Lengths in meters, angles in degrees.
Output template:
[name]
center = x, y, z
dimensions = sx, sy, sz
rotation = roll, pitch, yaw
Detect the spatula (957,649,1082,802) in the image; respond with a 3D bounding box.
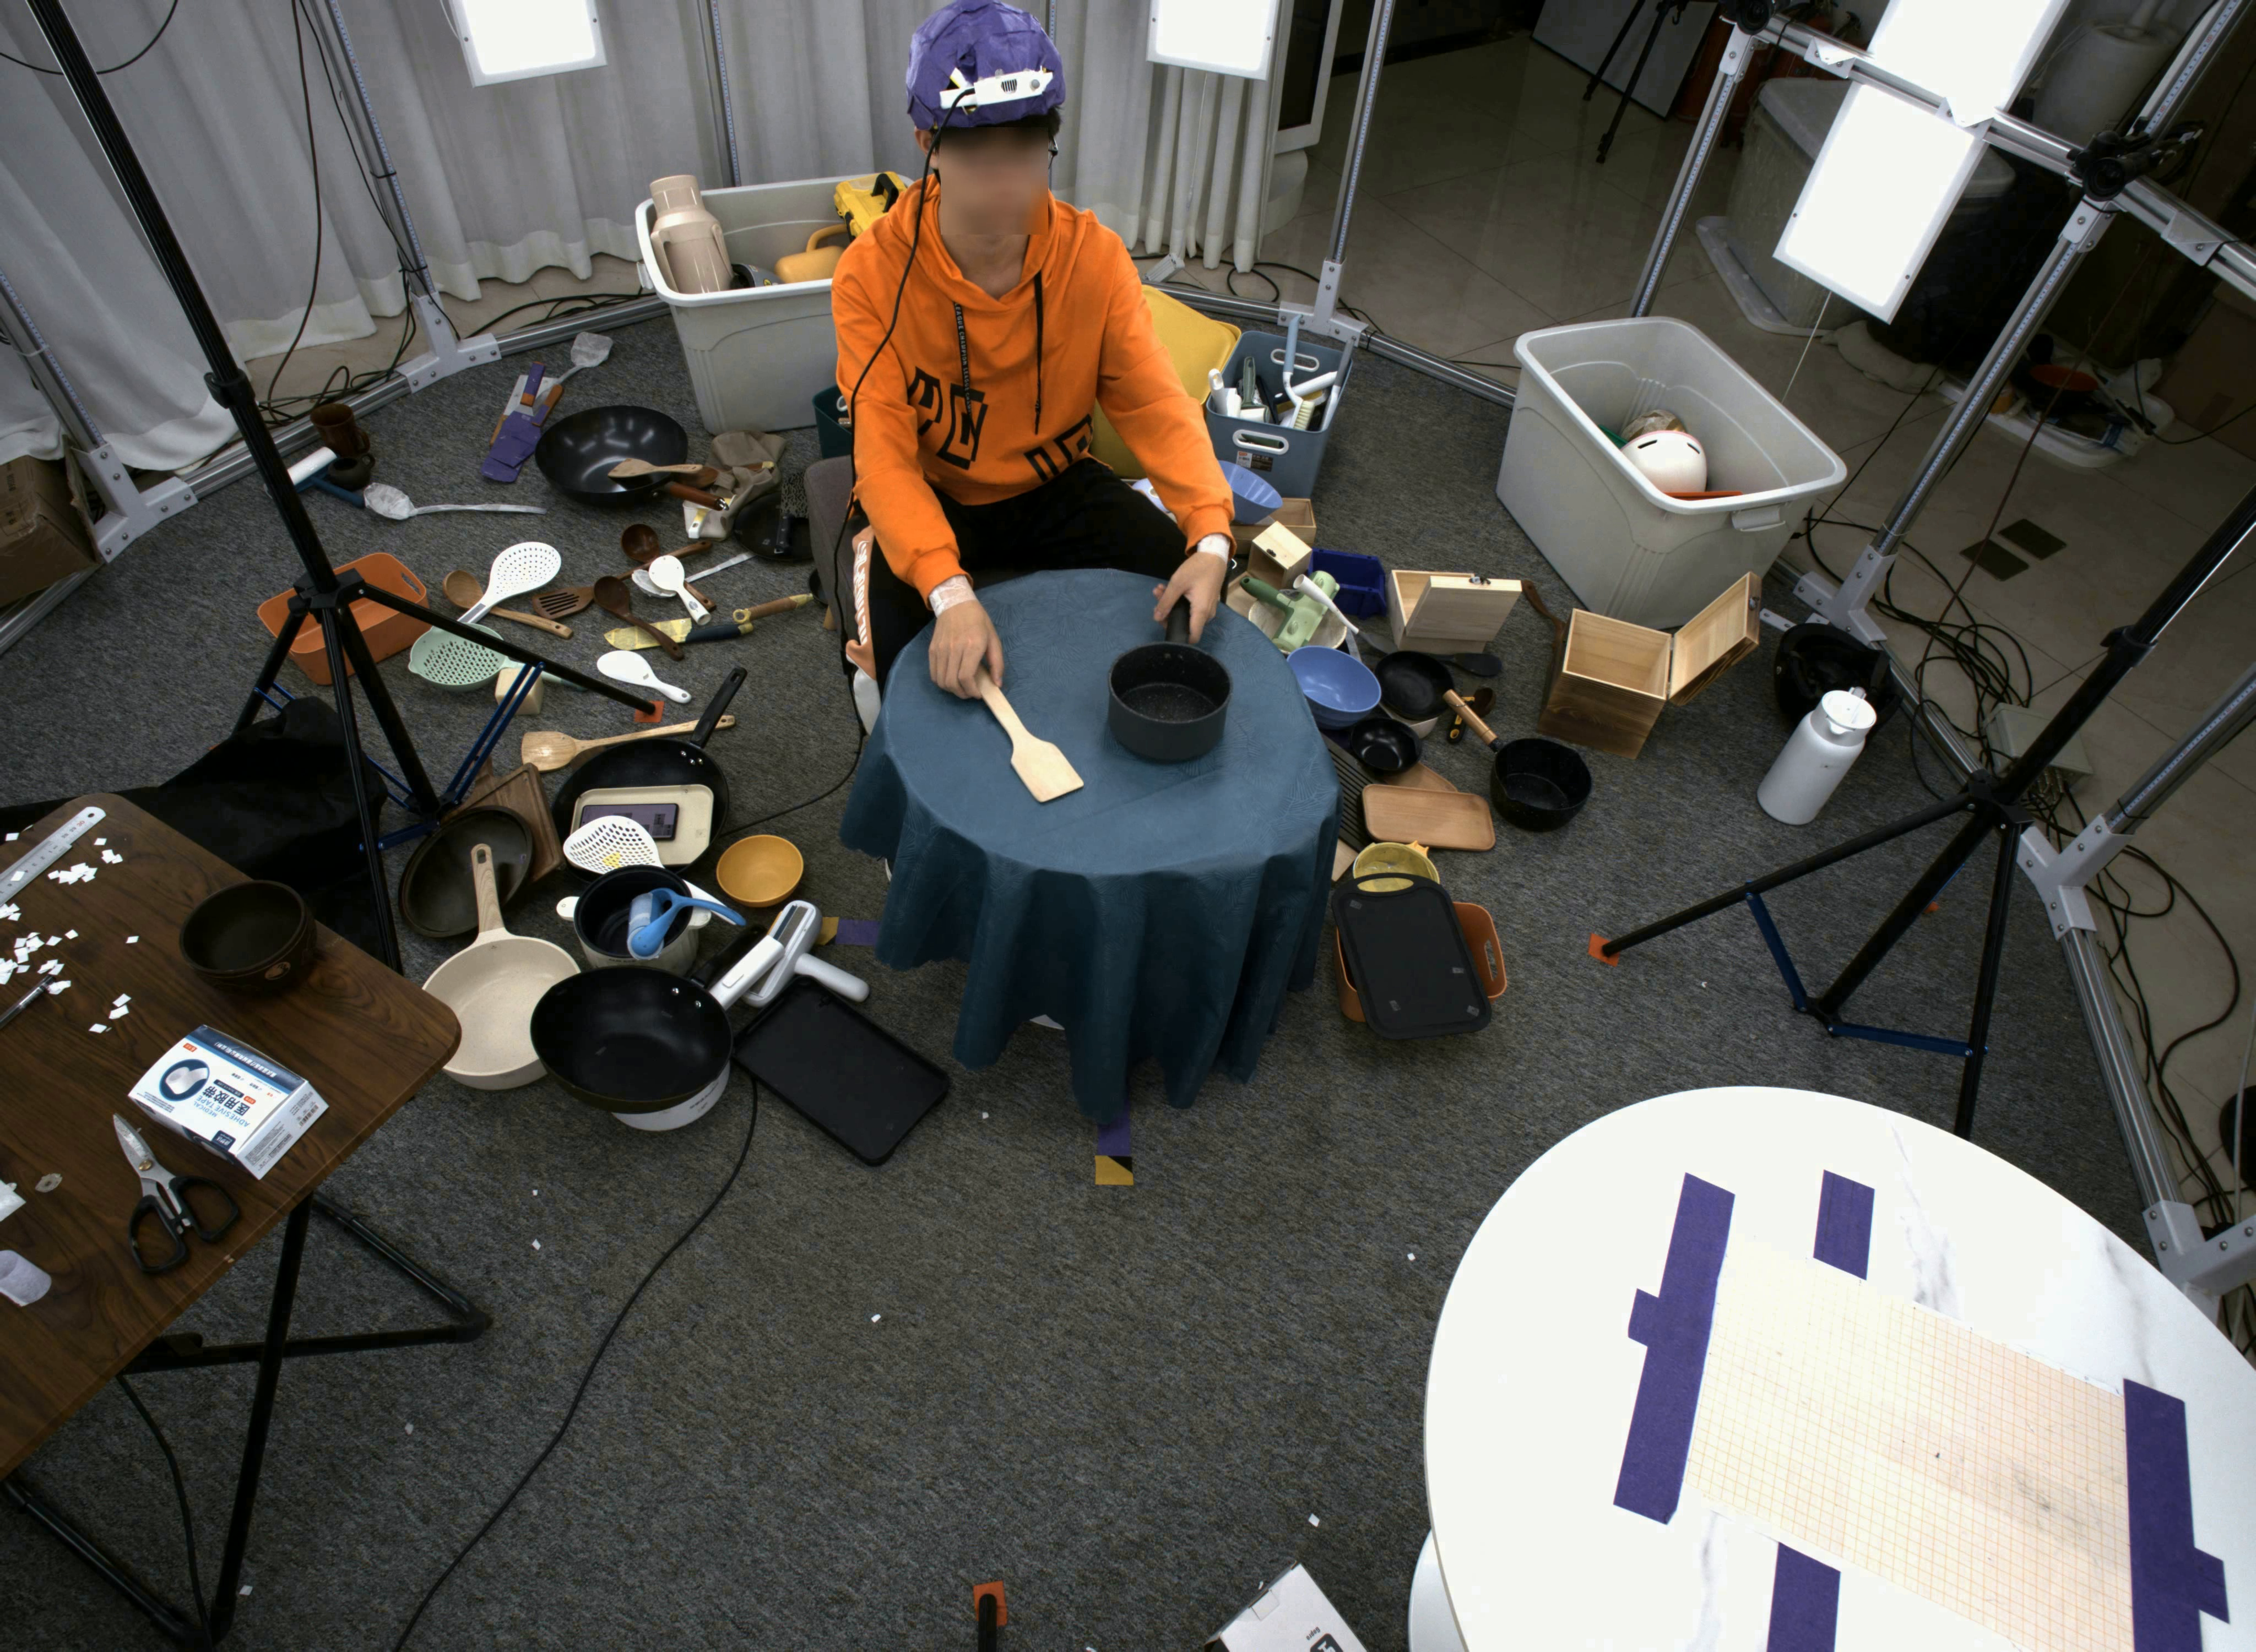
[spatula]
center = -0.163, -0.146, 1.772
dimensions = 0.072, 0.010, 0.299
rotation = -23, 57, -19

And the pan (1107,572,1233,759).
[pan]
center = 0.068, -0.231, 1.821
dimensions = 0.172, 0.084, 0.336
rotation = 10, 47, 4
